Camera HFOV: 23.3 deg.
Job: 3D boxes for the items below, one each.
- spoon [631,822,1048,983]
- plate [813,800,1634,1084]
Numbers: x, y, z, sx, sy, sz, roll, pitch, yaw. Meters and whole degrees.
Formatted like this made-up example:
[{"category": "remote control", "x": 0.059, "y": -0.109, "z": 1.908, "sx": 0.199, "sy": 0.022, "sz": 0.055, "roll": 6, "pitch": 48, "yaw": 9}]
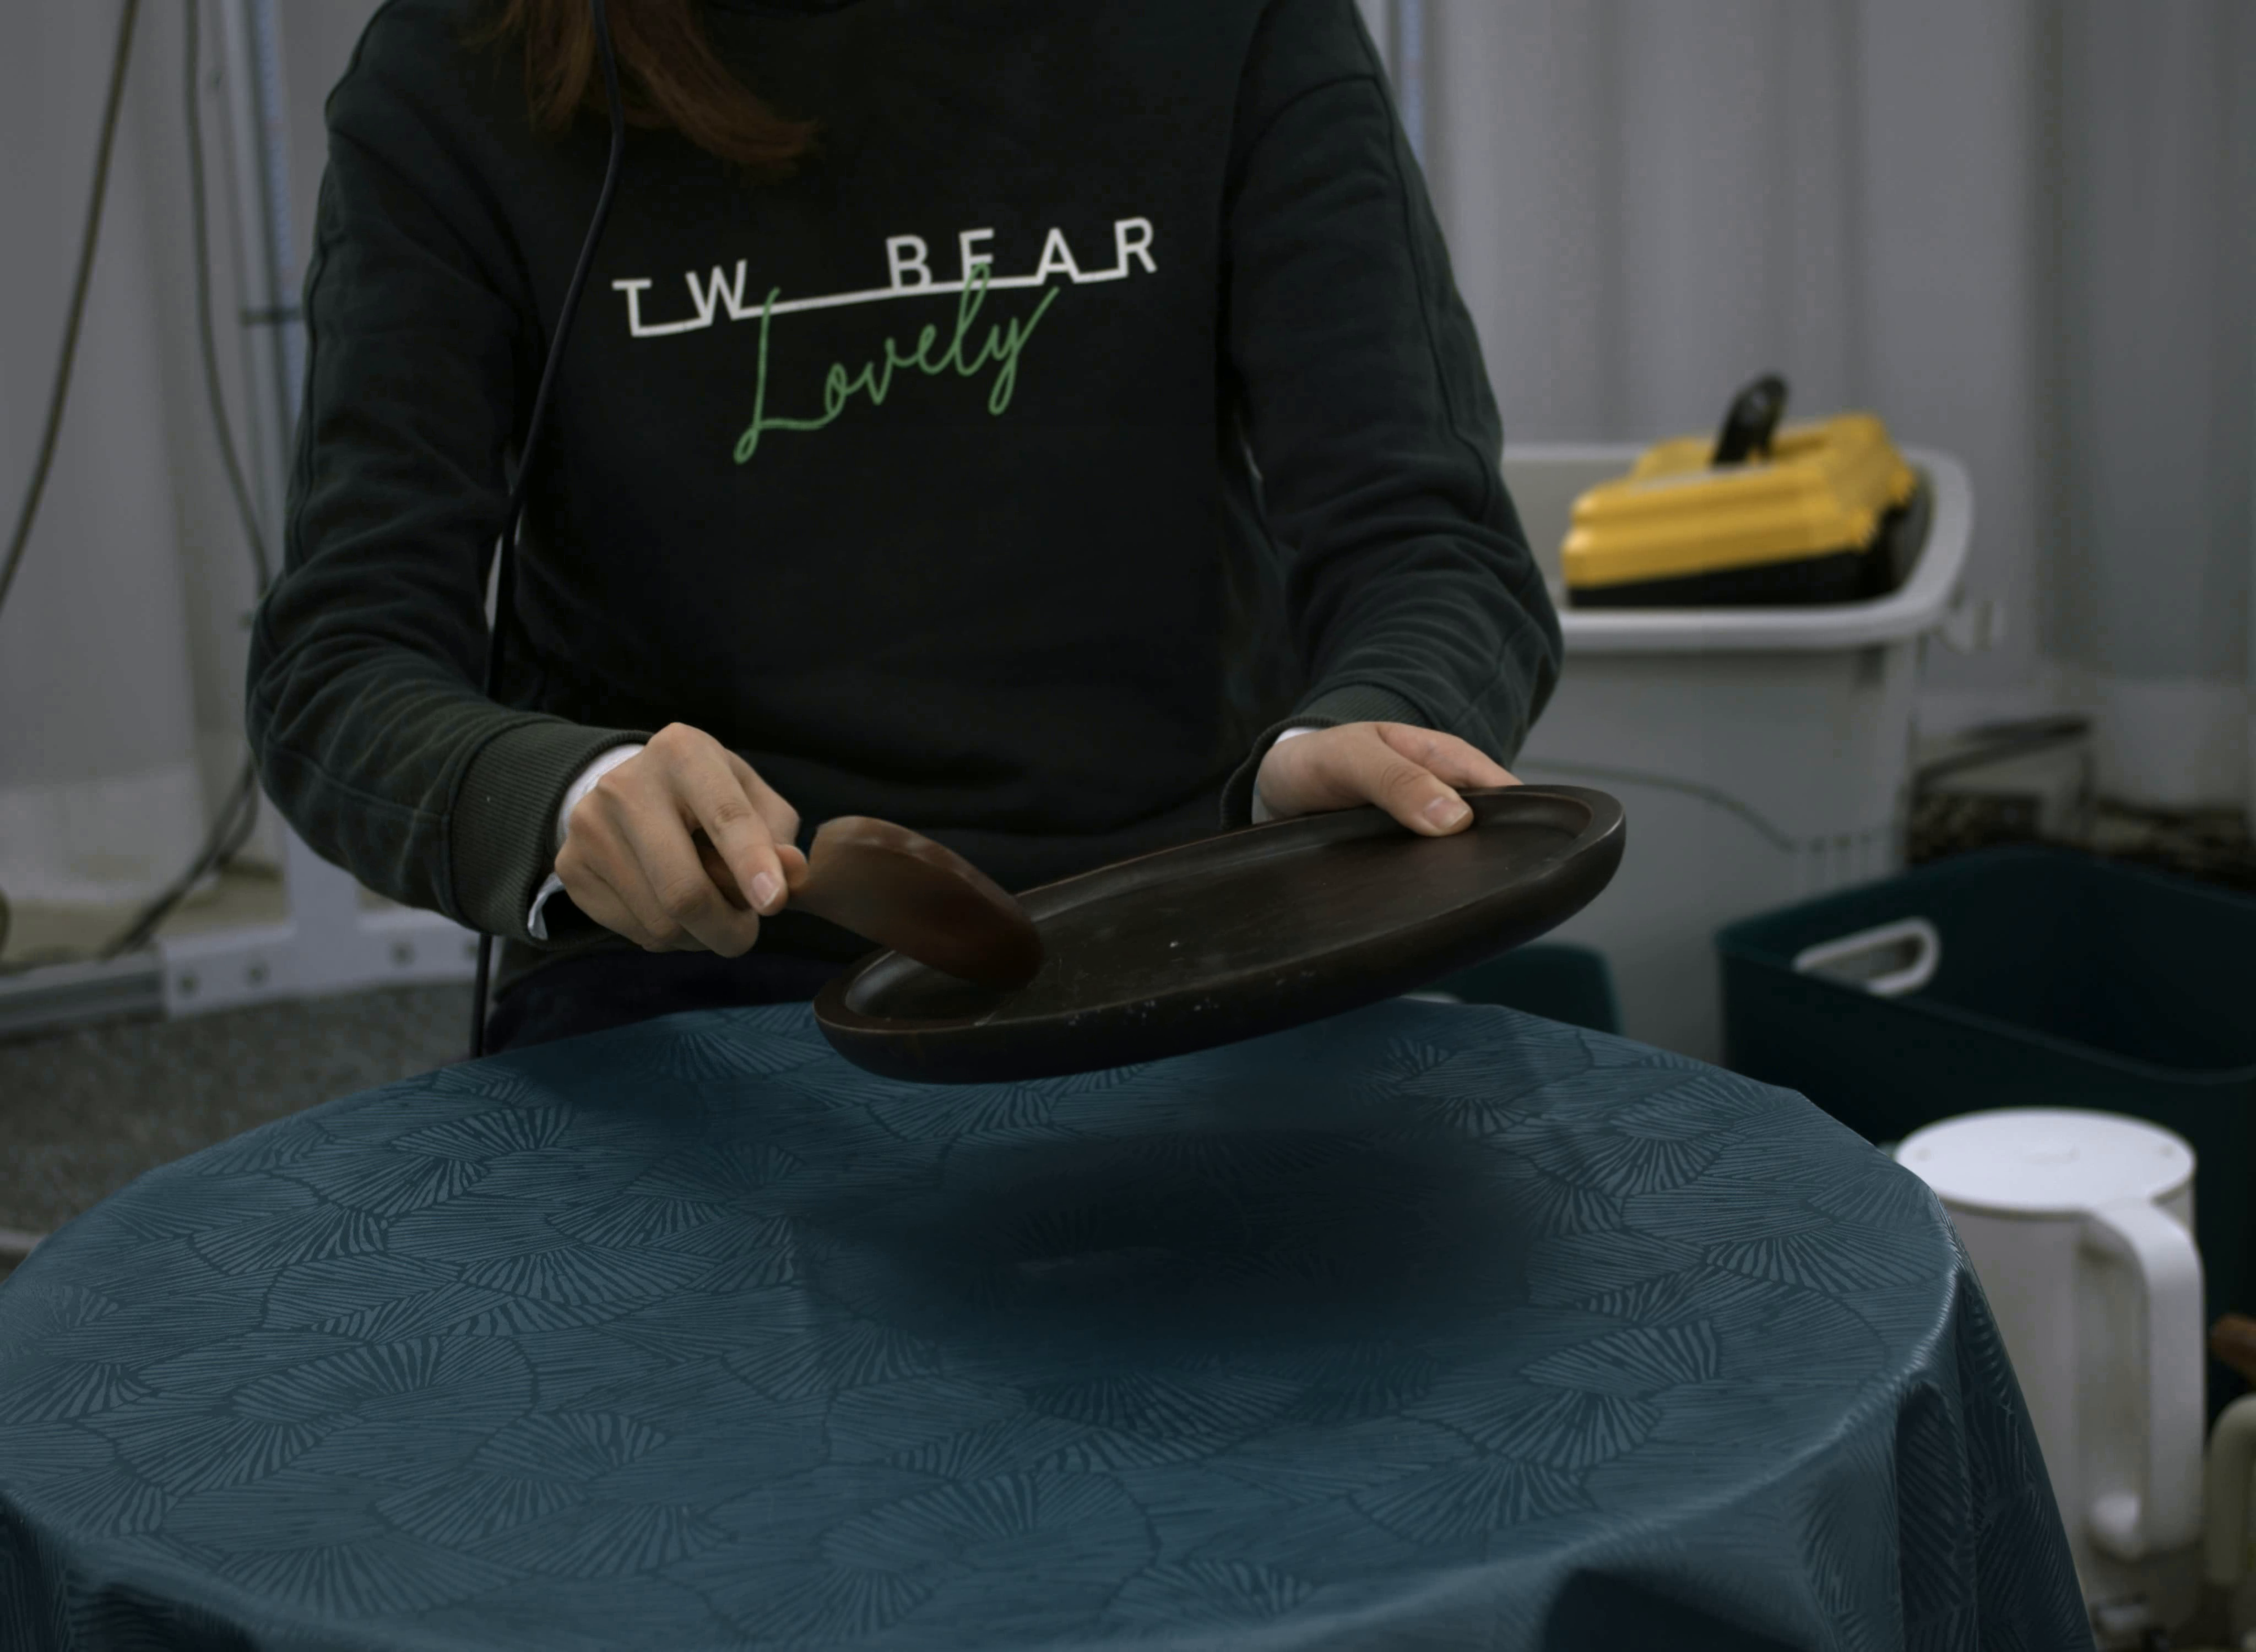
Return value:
[{"category": "spoon", "x": -0.097, "y": 0.022, "z": 1.696, "sx": 0.217, "sy": 0.074, "sz": 0.017, "roll": 6, "pitch": 57, "yaw": 57}, {"category": "plate", "x": 0.030, "y": 0.033, "z": 1.650, "sx": 0.254, "sy": 0.029, "sz": 0.256, "roll": -13, "pitch": 10, "yaw": 2}]
